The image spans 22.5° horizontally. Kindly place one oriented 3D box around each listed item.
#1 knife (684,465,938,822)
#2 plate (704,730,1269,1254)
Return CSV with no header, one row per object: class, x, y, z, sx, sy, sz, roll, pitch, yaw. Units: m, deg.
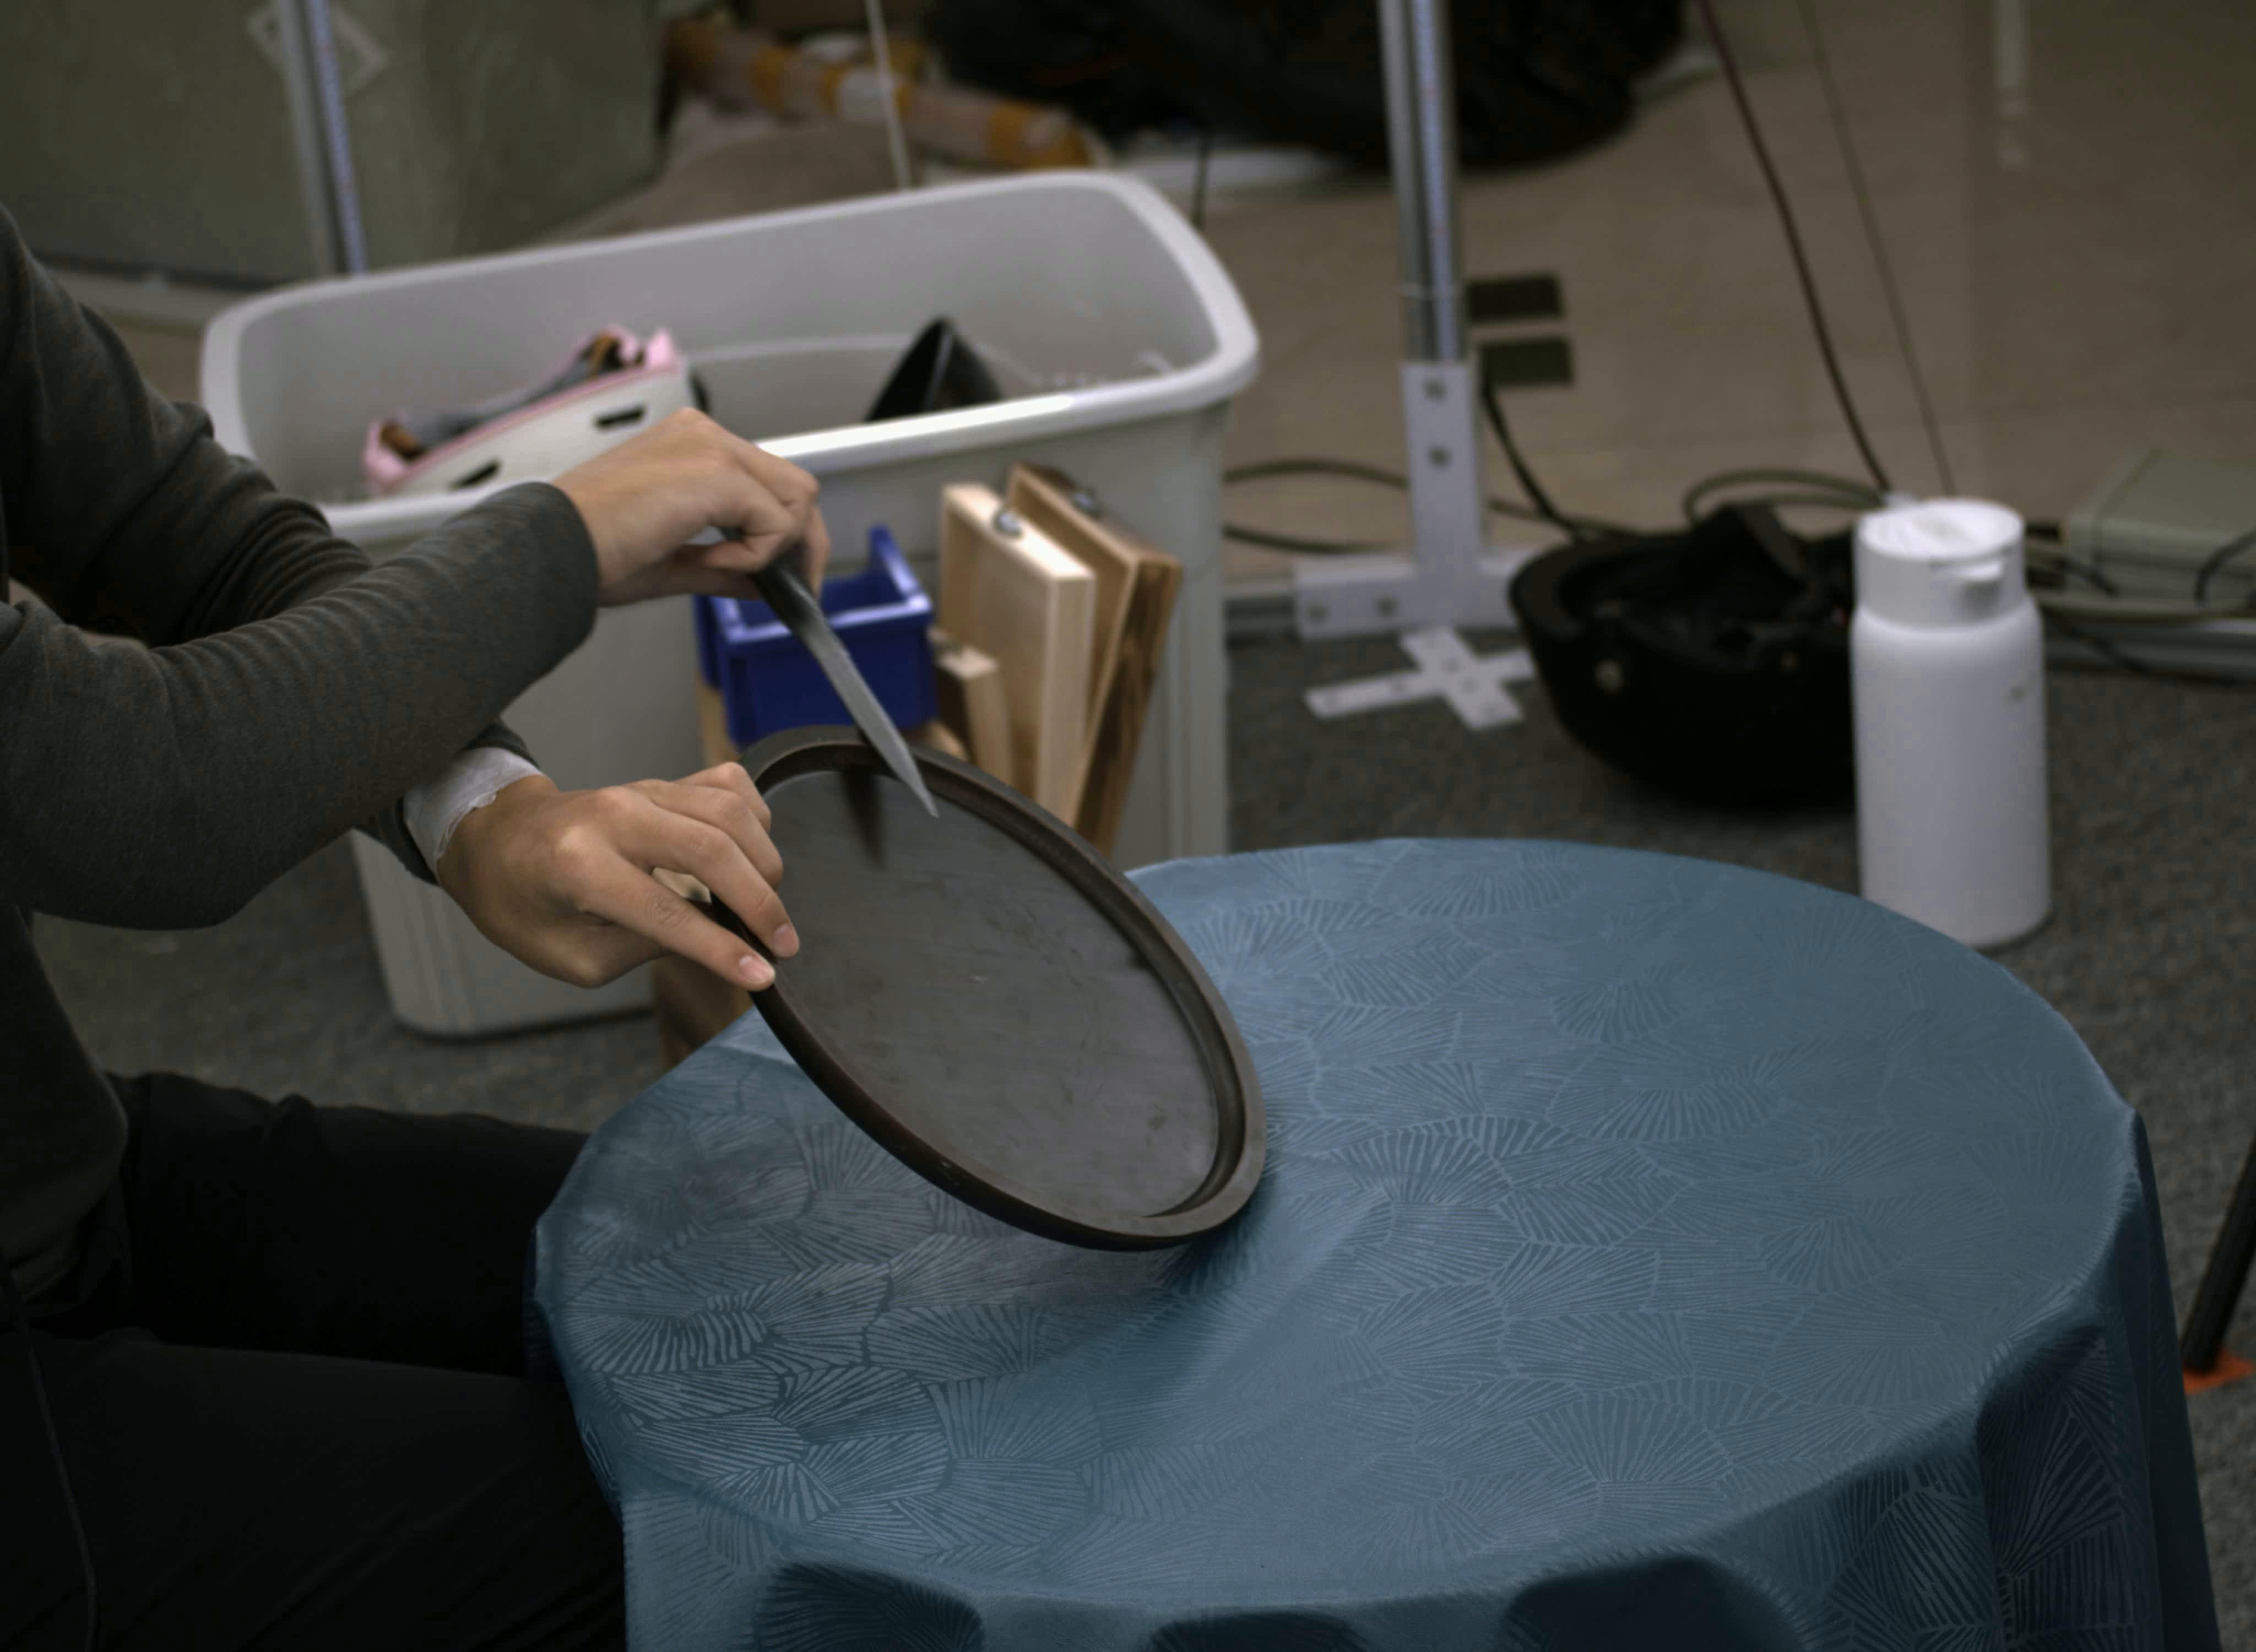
knife,-0.125,-0.074,2.220,0.024,0.016,0.234,23,23,-43
plate,-0.054,0.062,2.124,0.256,0.029,0.250,32,29,-20
